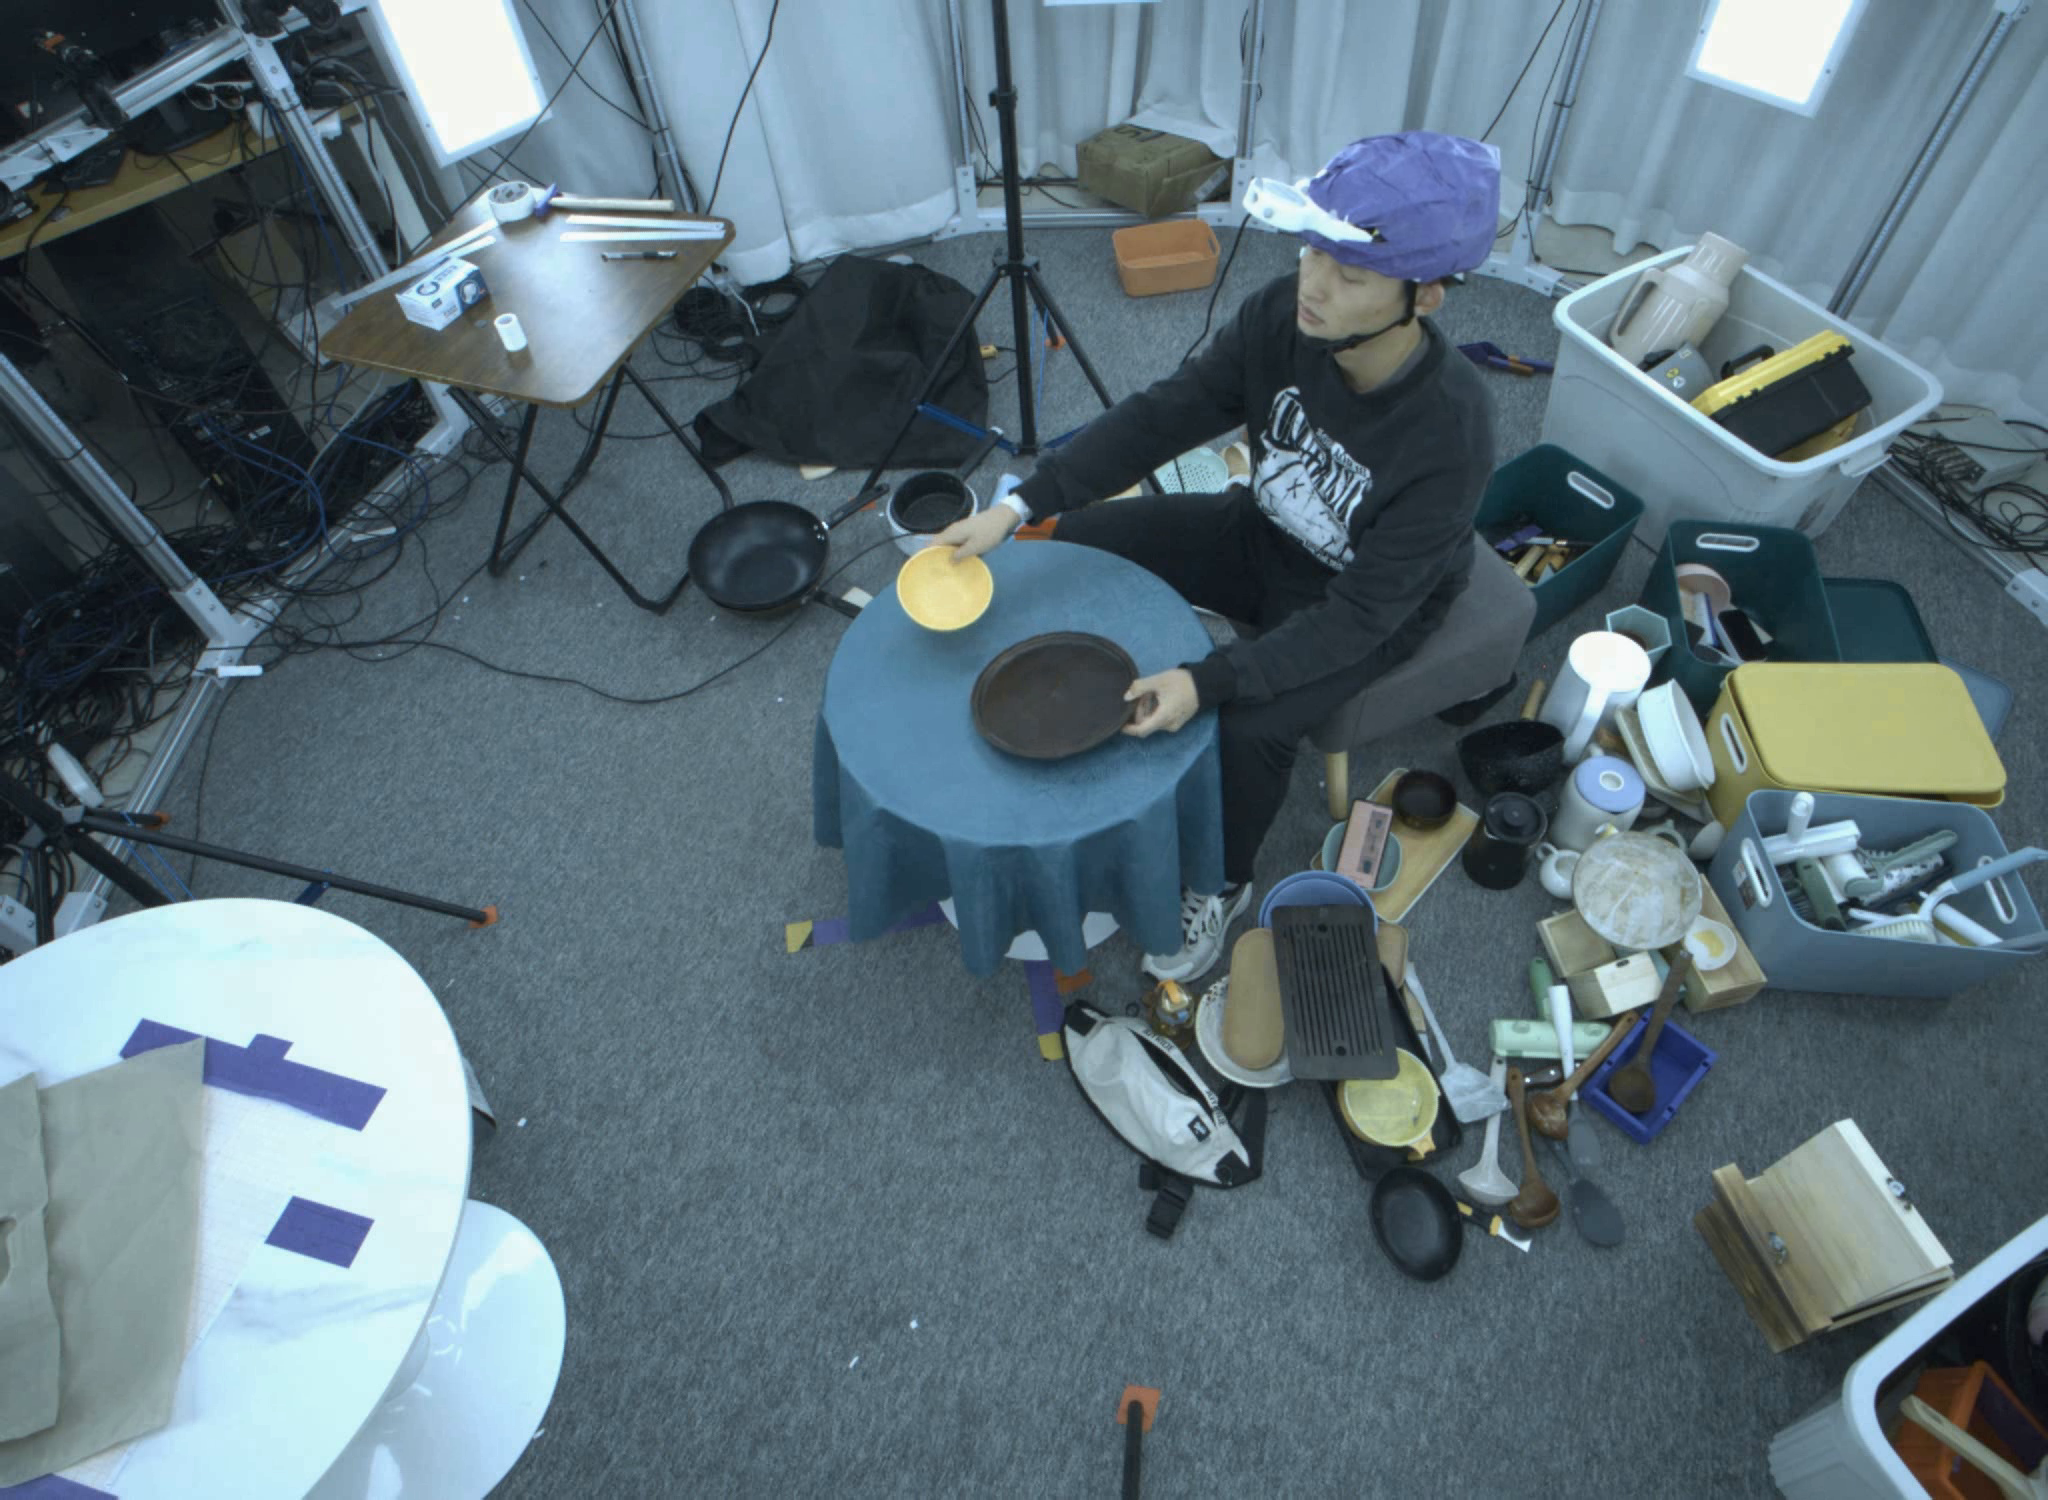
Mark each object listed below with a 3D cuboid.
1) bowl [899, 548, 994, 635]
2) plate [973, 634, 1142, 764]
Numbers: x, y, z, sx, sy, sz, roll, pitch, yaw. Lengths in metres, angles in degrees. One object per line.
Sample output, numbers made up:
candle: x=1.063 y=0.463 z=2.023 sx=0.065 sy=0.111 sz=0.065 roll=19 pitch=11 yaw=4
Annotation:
bowl: x=-0.120 y=-0.233 z=1.878 sx=0.146 sy=0.060 sz=0.144 roll=3 pitch=71 yaw=-6
plate: x=0.050 y=-0.076 z=1.814 sx=0.253 sy=0.029 sz=0.252 roll=-6 pitch=48 yaw=8
